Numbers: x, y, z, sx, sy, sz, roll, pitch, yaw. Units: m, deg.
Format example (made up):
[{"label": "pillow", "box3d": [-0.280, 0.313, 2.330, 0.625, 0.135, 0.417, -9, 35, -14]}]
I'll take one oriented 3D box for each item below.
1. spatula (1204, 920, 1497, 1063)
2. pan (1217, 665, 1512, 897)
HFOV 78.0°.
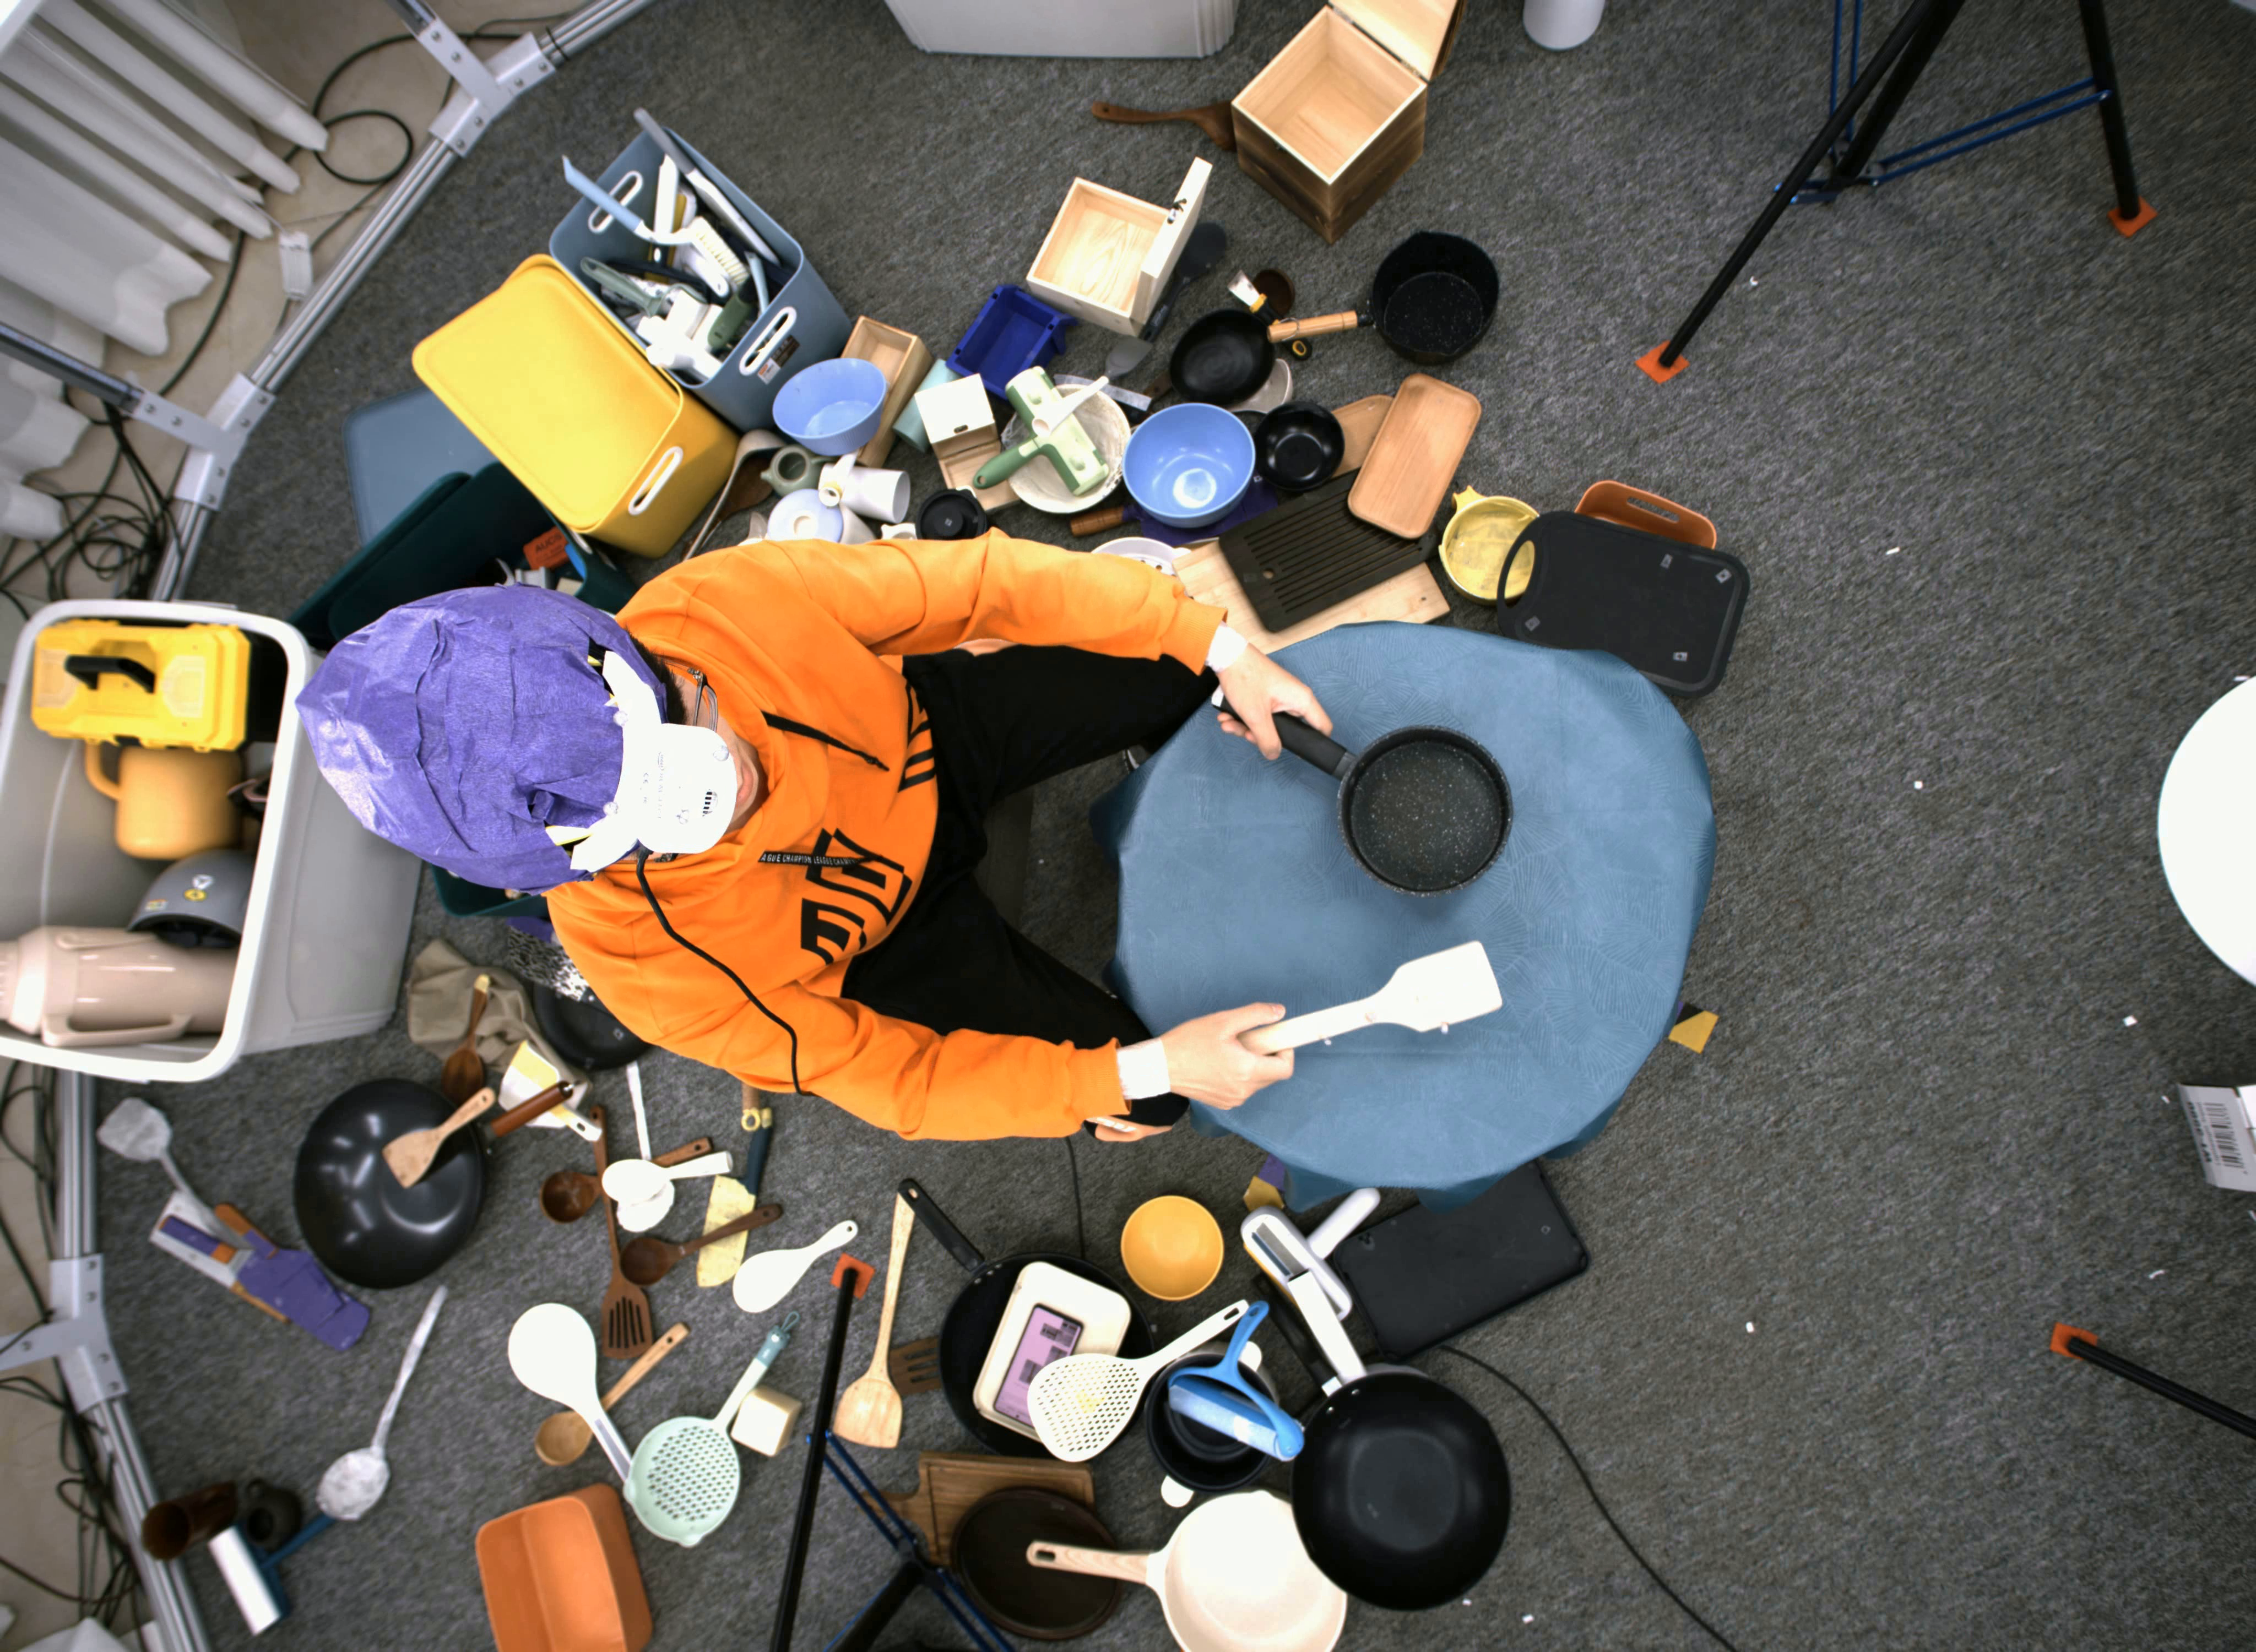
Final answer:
[{"label": "spatula", "box3d": [0.211, 0.170, 1.346, 0.294, 0.011, 0.070, -22, 55, 8]}, {"label": "pan", "box3d": [0.234, -0.059, 1.406, 0.328, 0.086, 0.173, 34, 96, 11]}]
